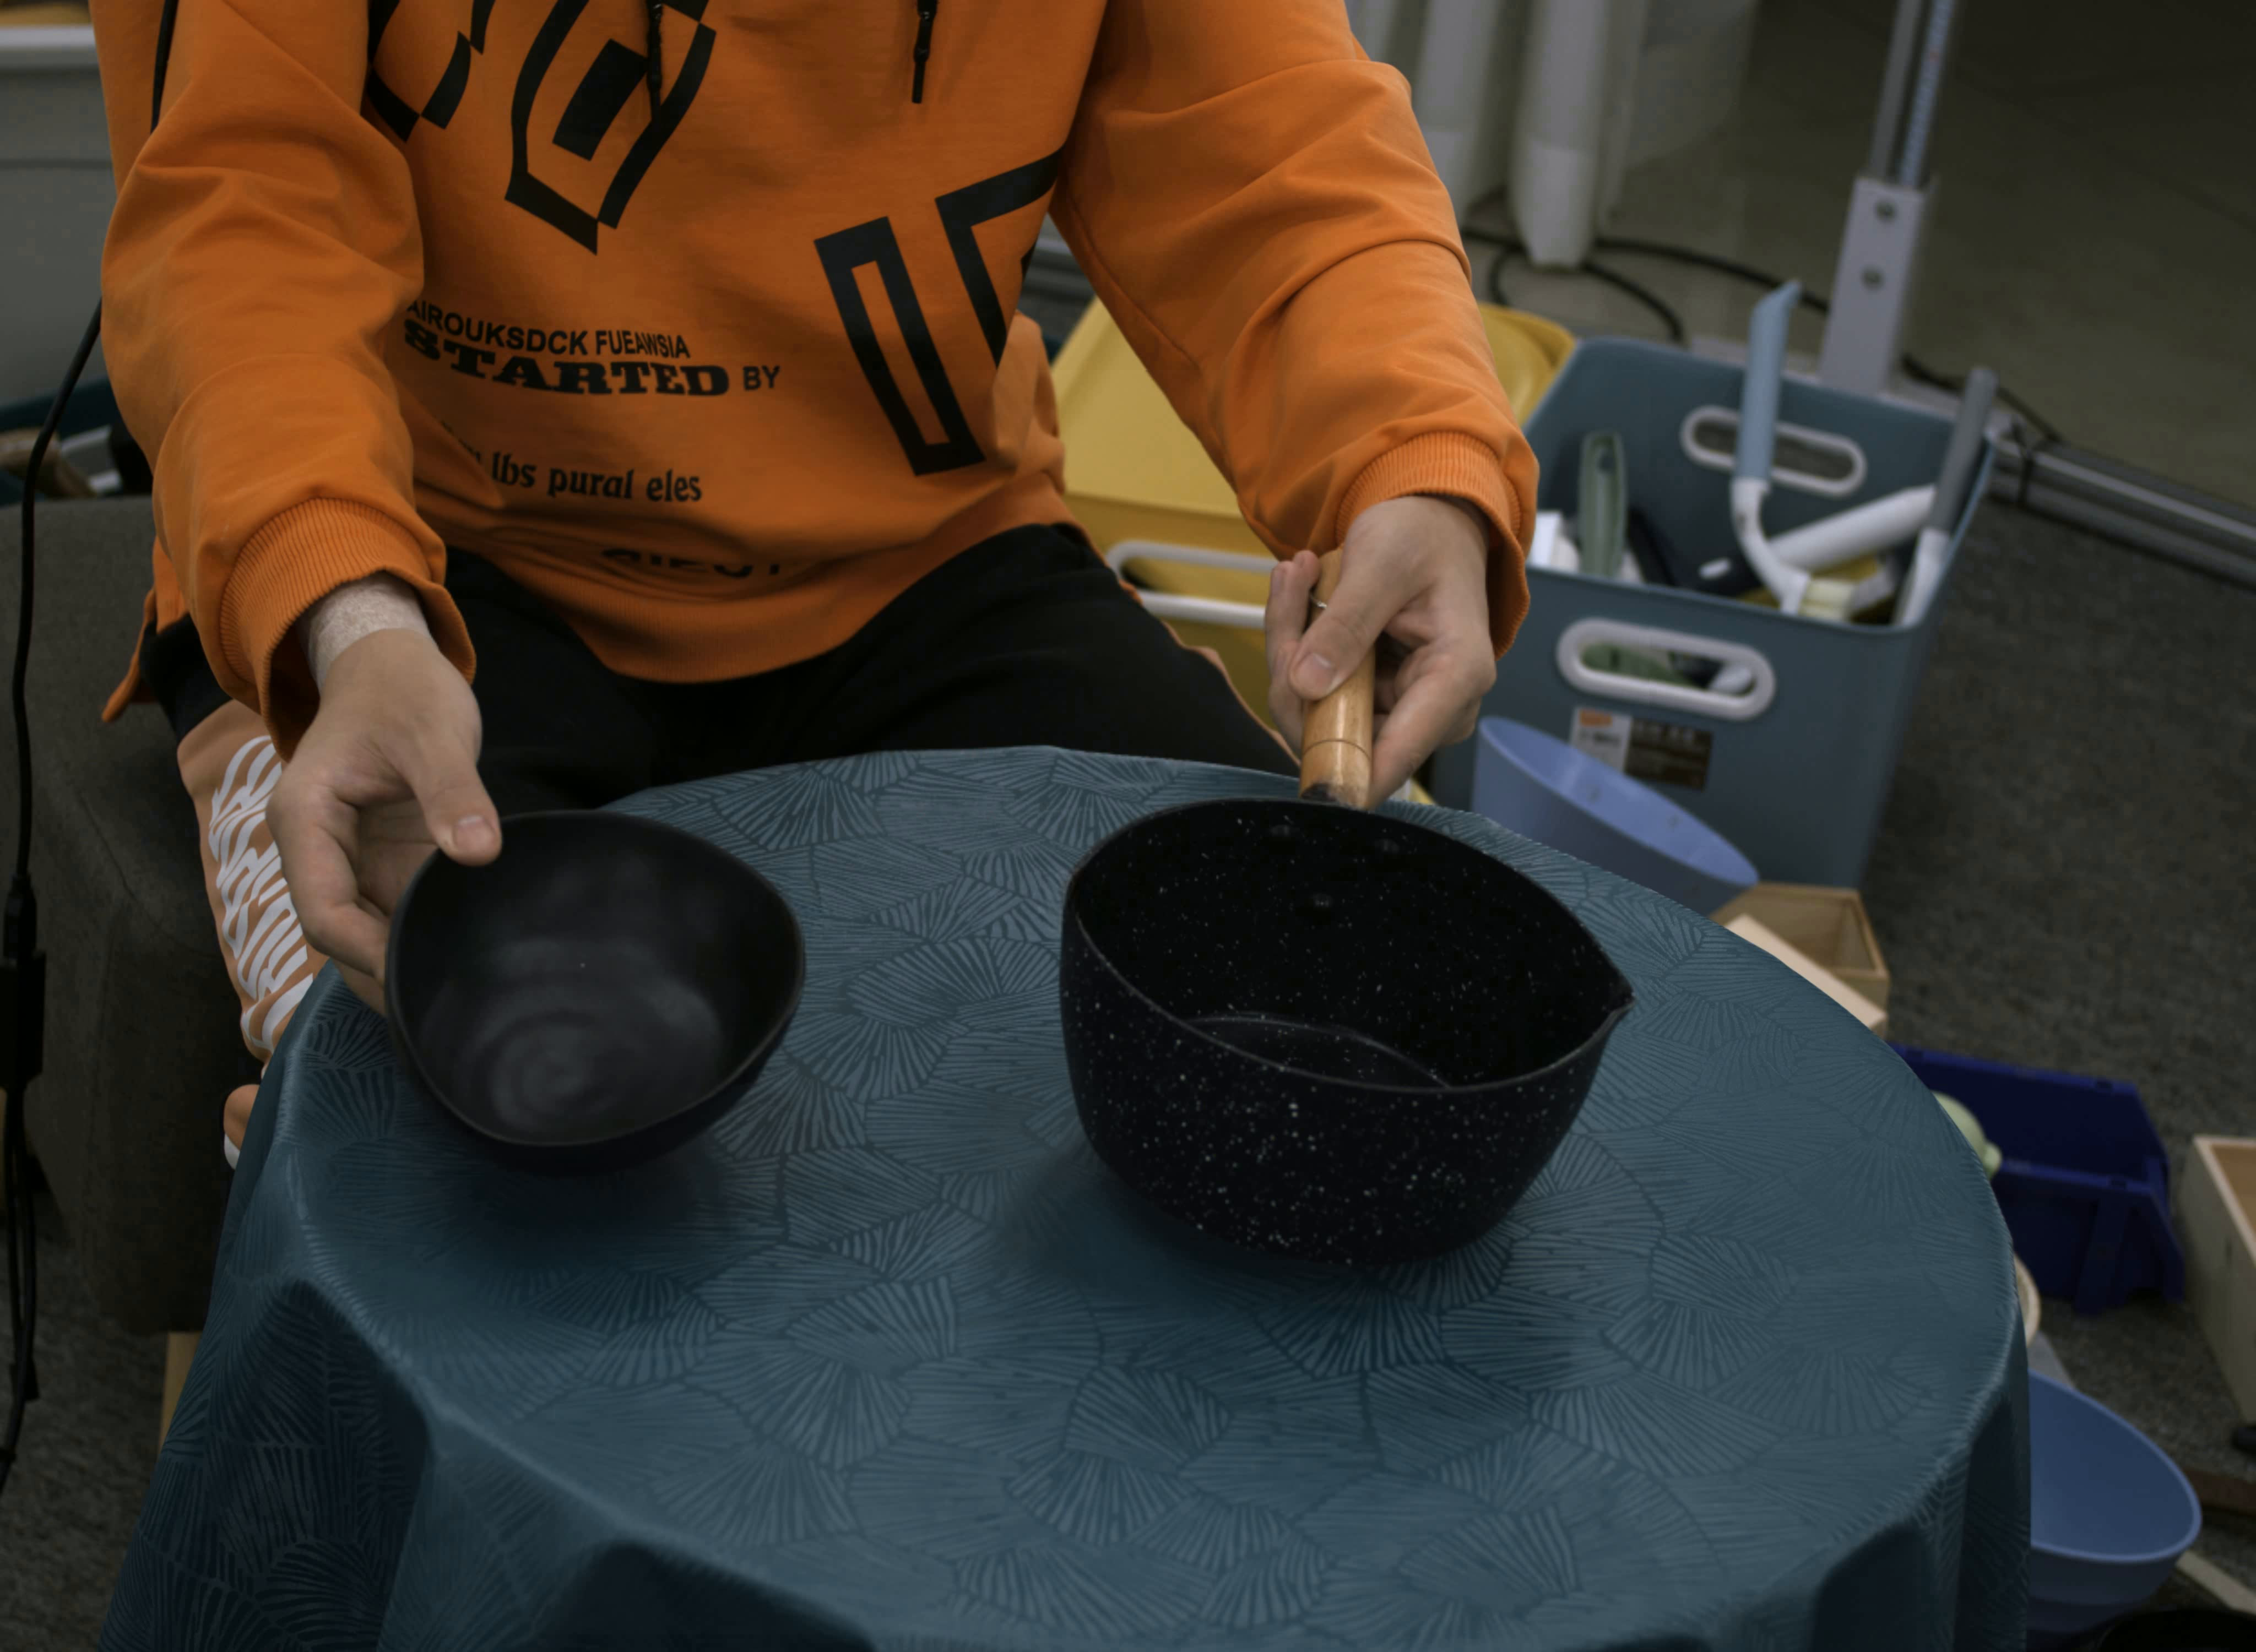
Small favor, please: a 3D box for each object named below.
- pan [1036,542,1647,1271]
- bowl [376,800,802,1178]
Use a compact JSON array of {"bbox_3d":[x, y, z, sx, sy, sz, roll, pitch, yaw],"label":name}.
[{"bbox_3d":[0.067,0.023,1.855,0.207,0.108,0.345,9,30,-4],"label":"pan"},{"bbox_3d":[-0.182,0.065,1.770,0.137,0.066,0.171,17,39,4],"label":"bowl"}]
